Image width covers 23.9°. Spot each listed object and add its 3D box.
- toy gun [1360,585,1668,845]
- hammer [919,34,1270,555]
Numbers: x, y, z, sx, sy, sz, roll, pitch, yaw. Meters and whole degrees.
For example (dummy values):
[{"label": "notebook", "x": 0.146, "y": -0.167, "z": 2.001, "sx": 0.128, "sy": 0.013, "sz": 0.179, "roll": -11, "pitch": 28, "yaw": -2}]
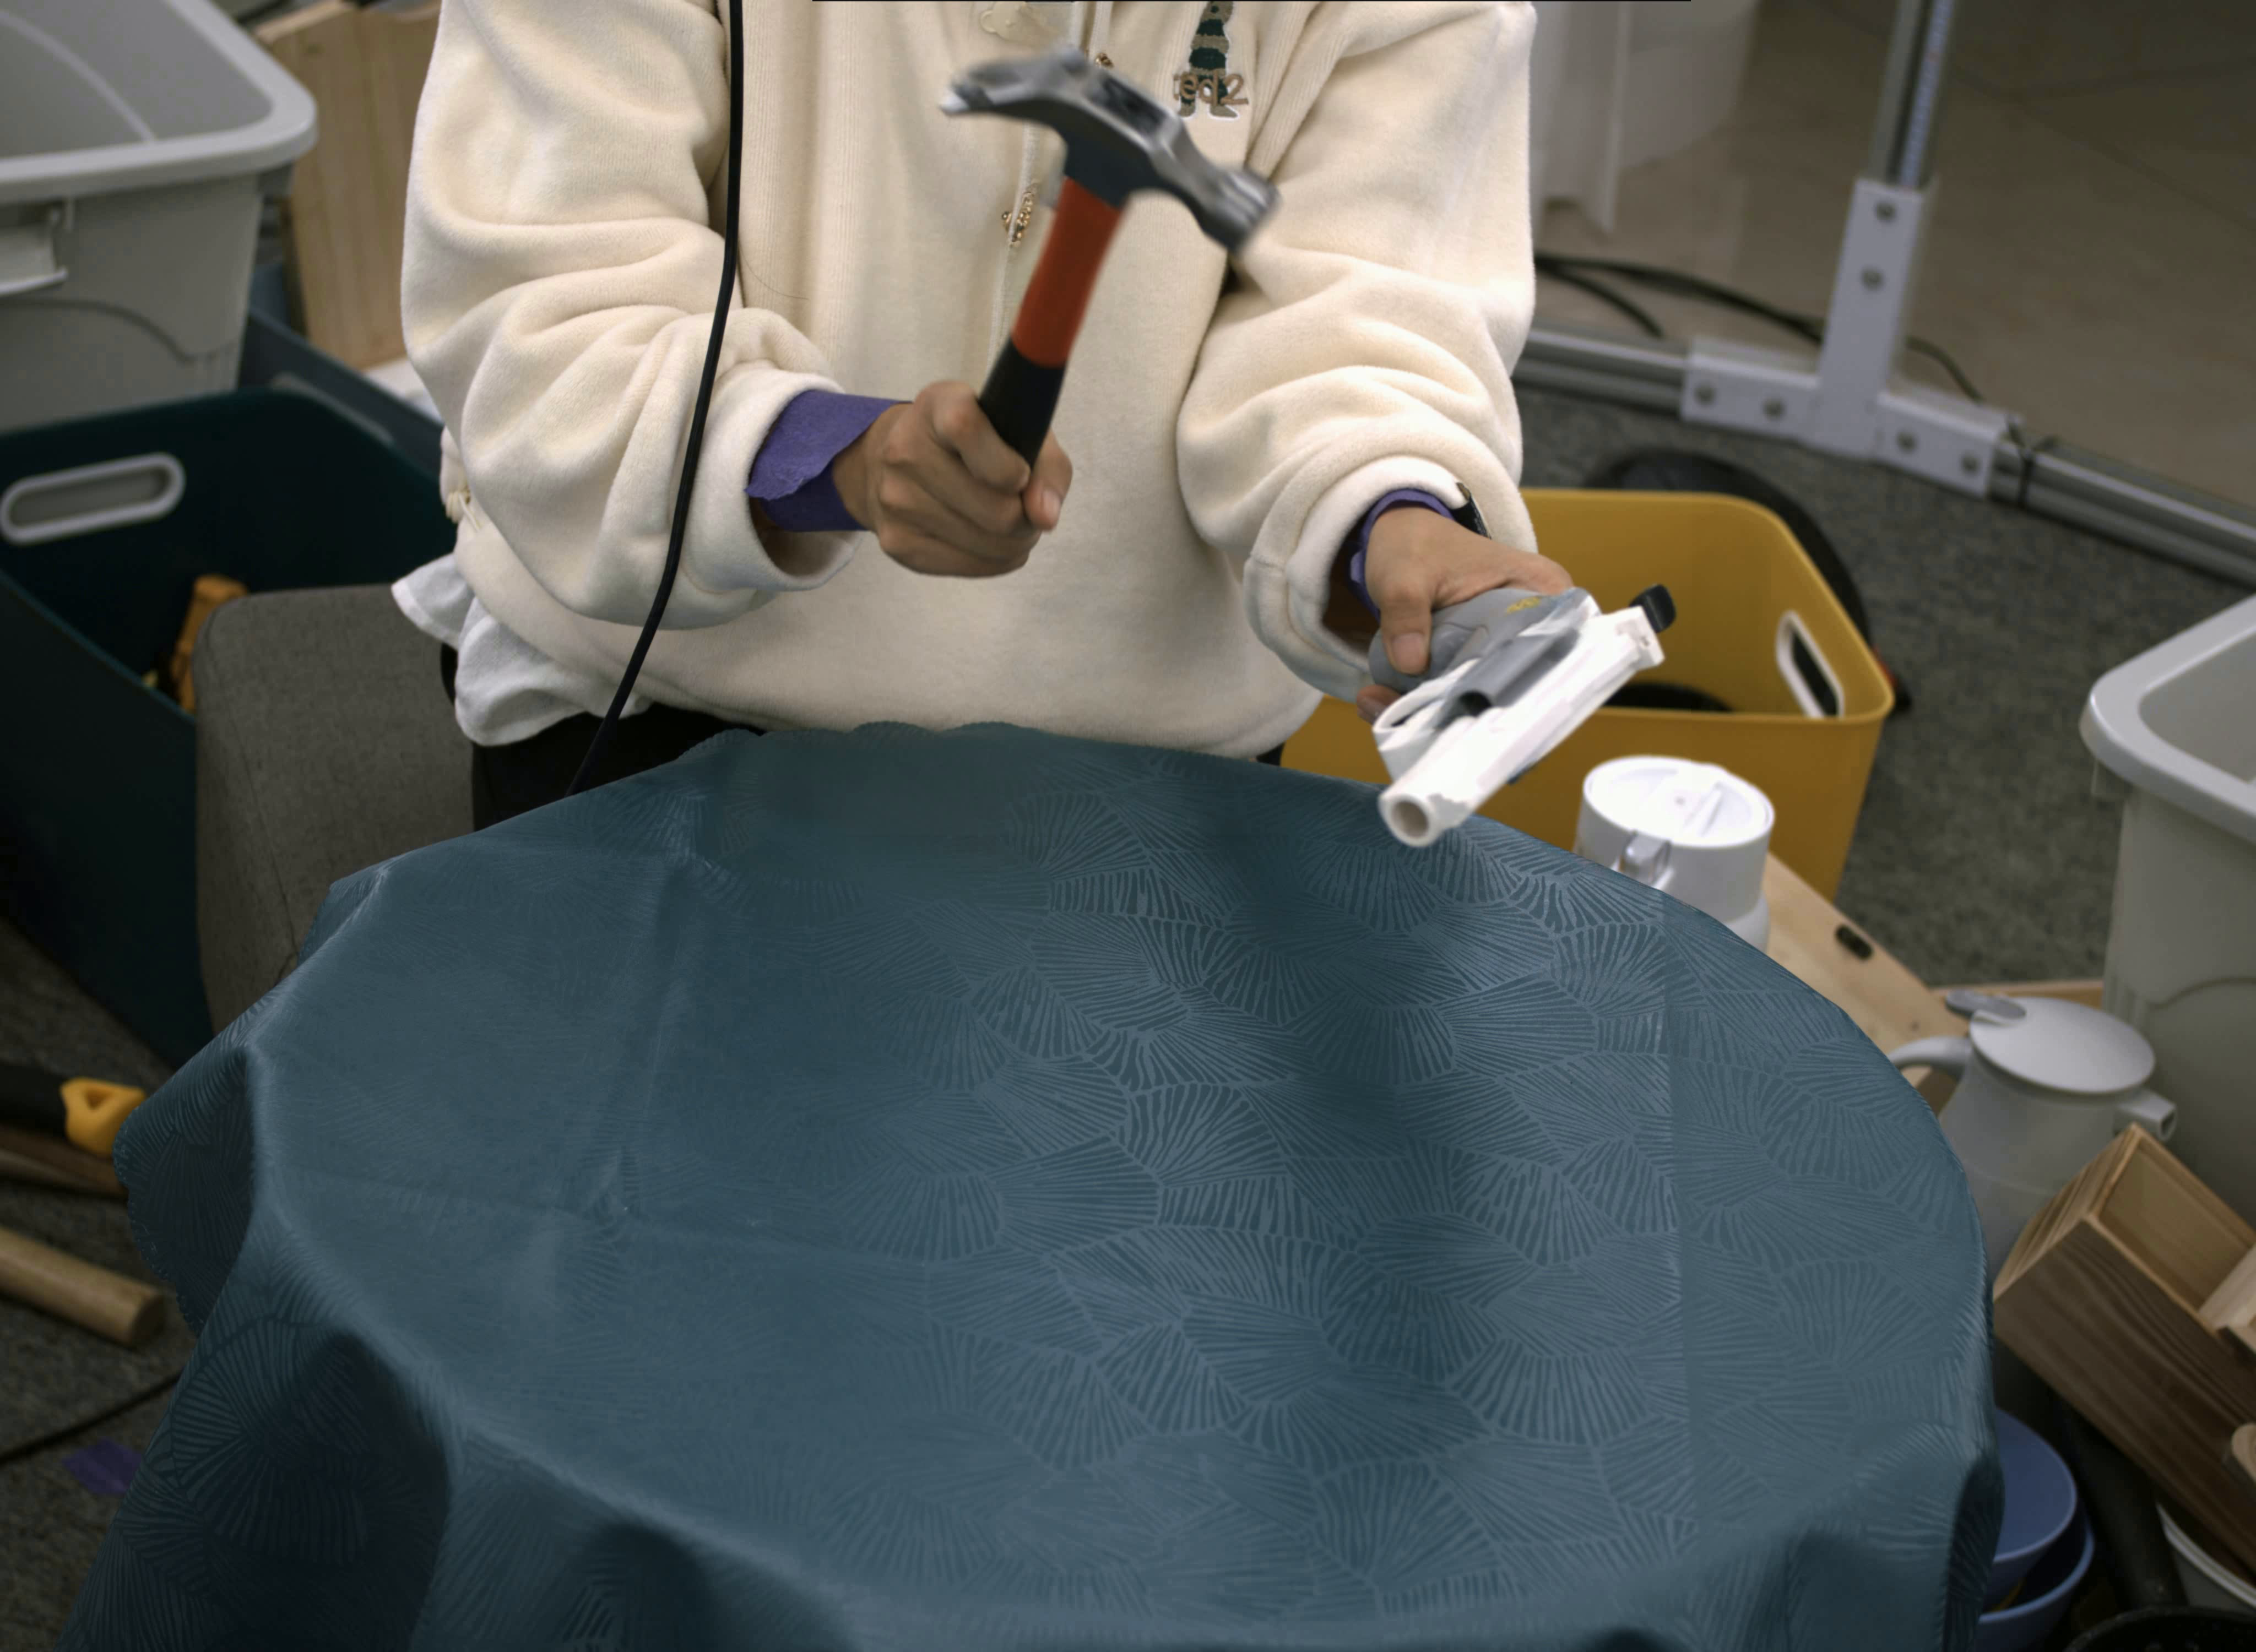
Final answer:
[{"label": "toy gun", "x": 0.109, "y": -0.040, "z": 1.788, "sx": 0.142, "sy": 0.039, "sz": 0.209, "roll": -12, "pitch": 18, "yaw": 38}, {"label": "hammer", "x": -0.031, "y": -0.173, "z": 1.803, "sx": 0.110, "sy": 0.276, "sz": 0.026, "roll": 26, "pitch": 60, "yaw": 3}]
